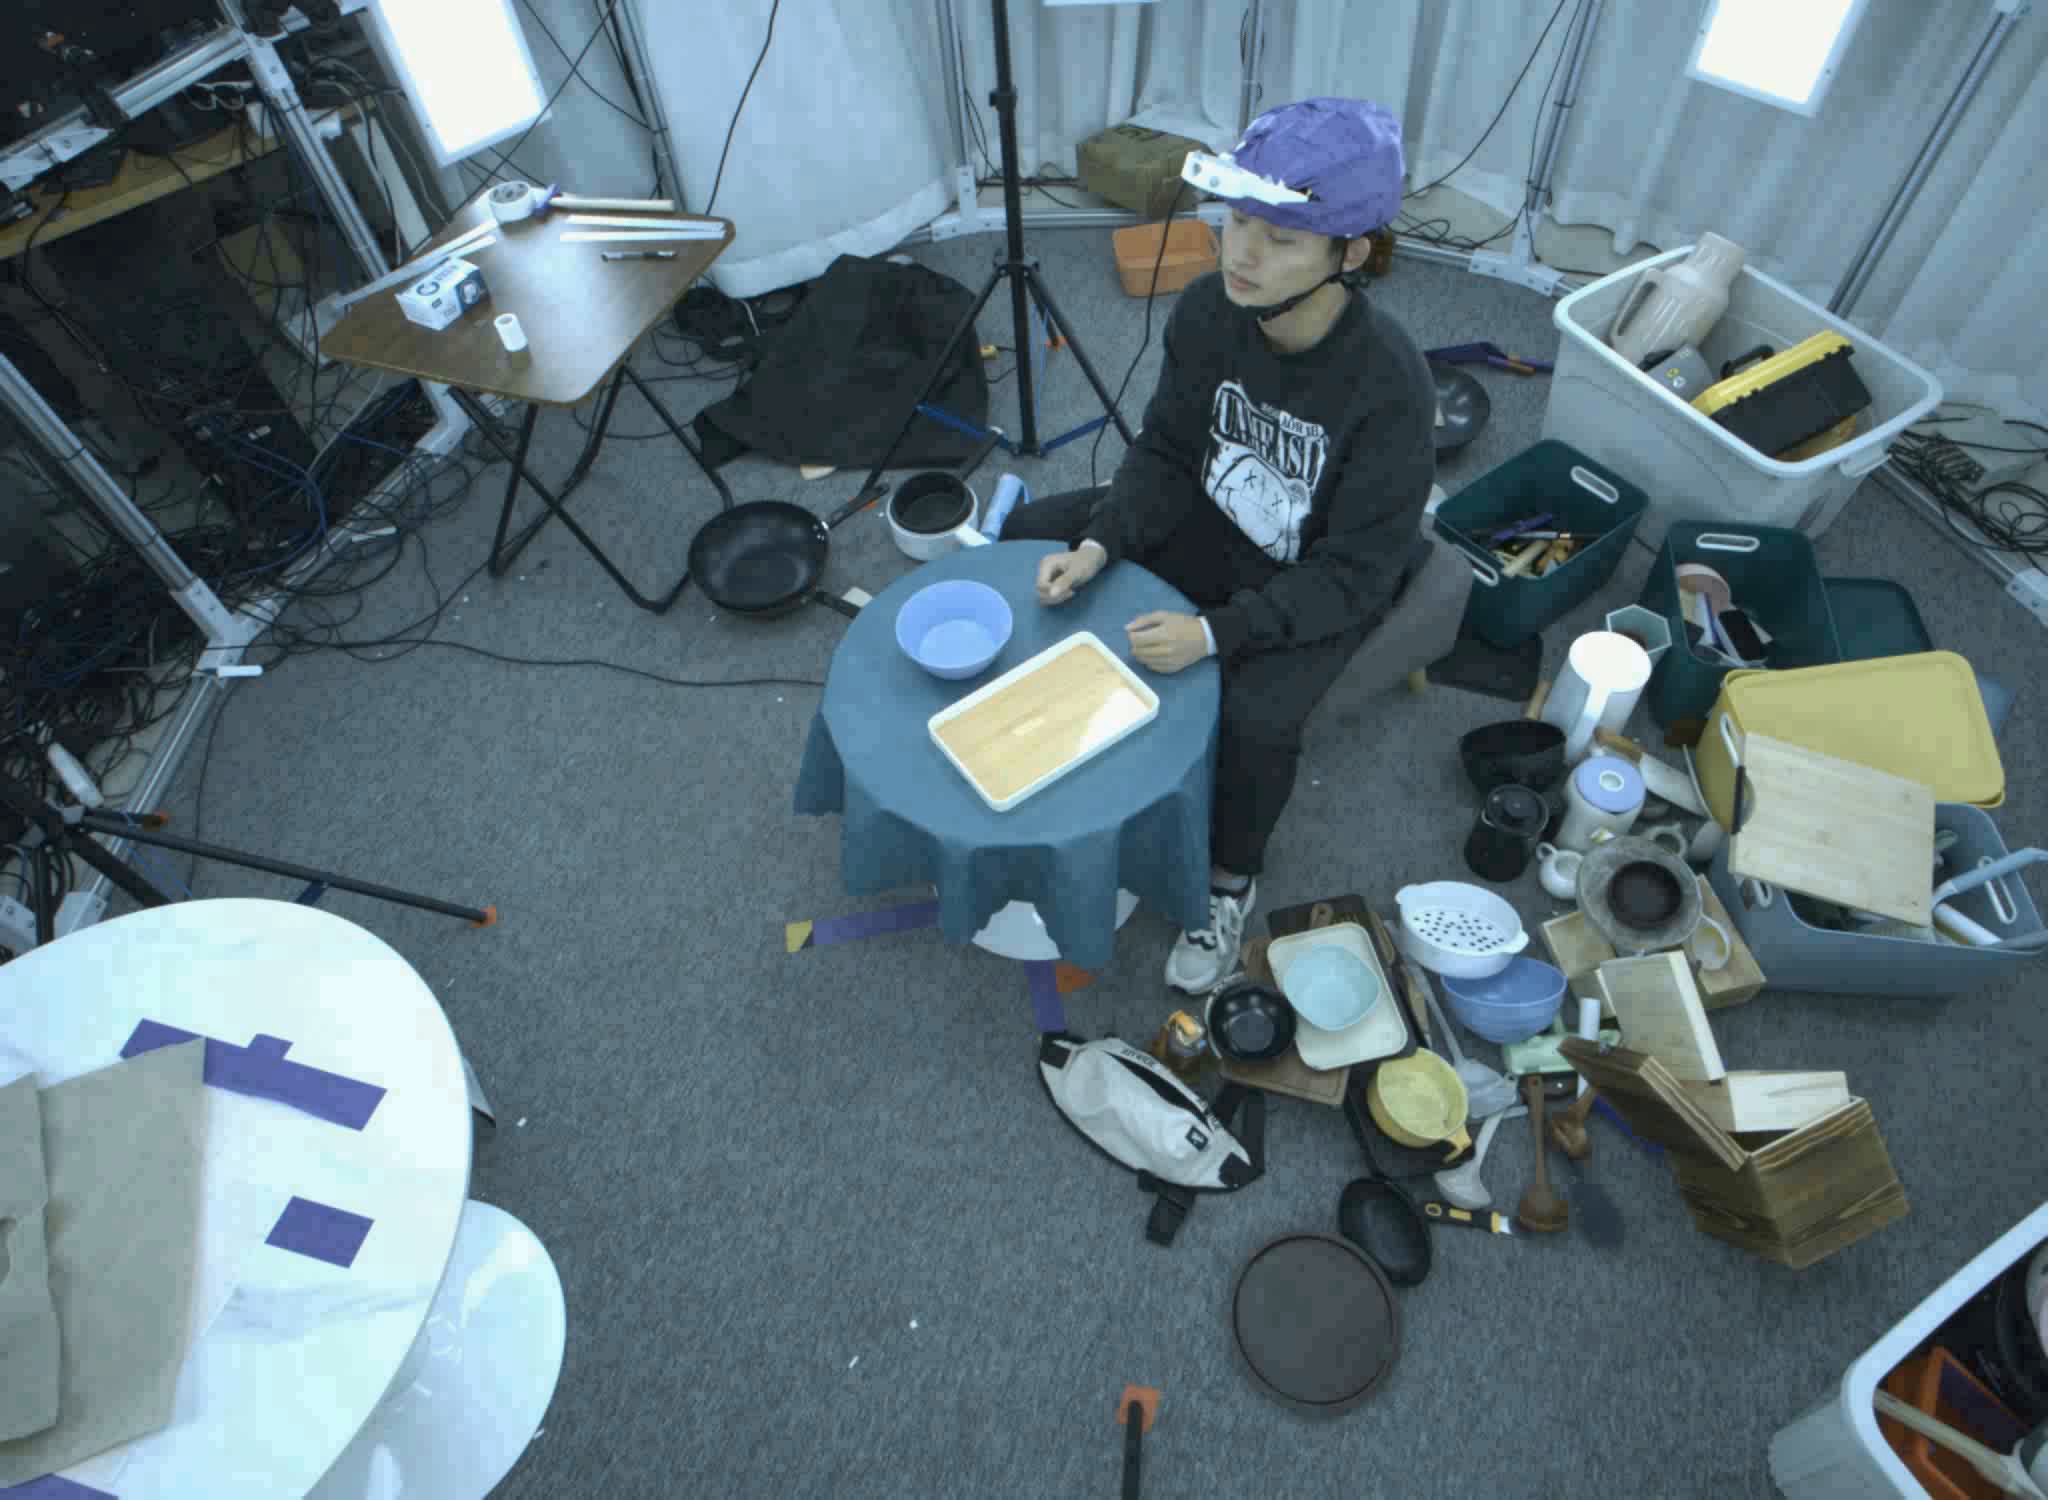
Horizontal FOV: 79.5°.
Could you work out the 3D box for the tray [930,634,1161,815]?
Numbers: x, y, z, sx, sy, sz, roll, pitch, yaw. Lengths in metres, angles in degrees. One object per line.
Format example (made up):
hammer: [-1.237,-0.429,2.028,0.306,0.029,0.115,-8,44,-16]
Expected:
tray: [0.032,-0.042,1.811,0.302,0.028,0.188,-32,60,-19]

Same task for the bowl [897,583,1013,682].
bowl: [-0.104,-0.170,1.877,0.176,0.071,0.174,0,56,1]
